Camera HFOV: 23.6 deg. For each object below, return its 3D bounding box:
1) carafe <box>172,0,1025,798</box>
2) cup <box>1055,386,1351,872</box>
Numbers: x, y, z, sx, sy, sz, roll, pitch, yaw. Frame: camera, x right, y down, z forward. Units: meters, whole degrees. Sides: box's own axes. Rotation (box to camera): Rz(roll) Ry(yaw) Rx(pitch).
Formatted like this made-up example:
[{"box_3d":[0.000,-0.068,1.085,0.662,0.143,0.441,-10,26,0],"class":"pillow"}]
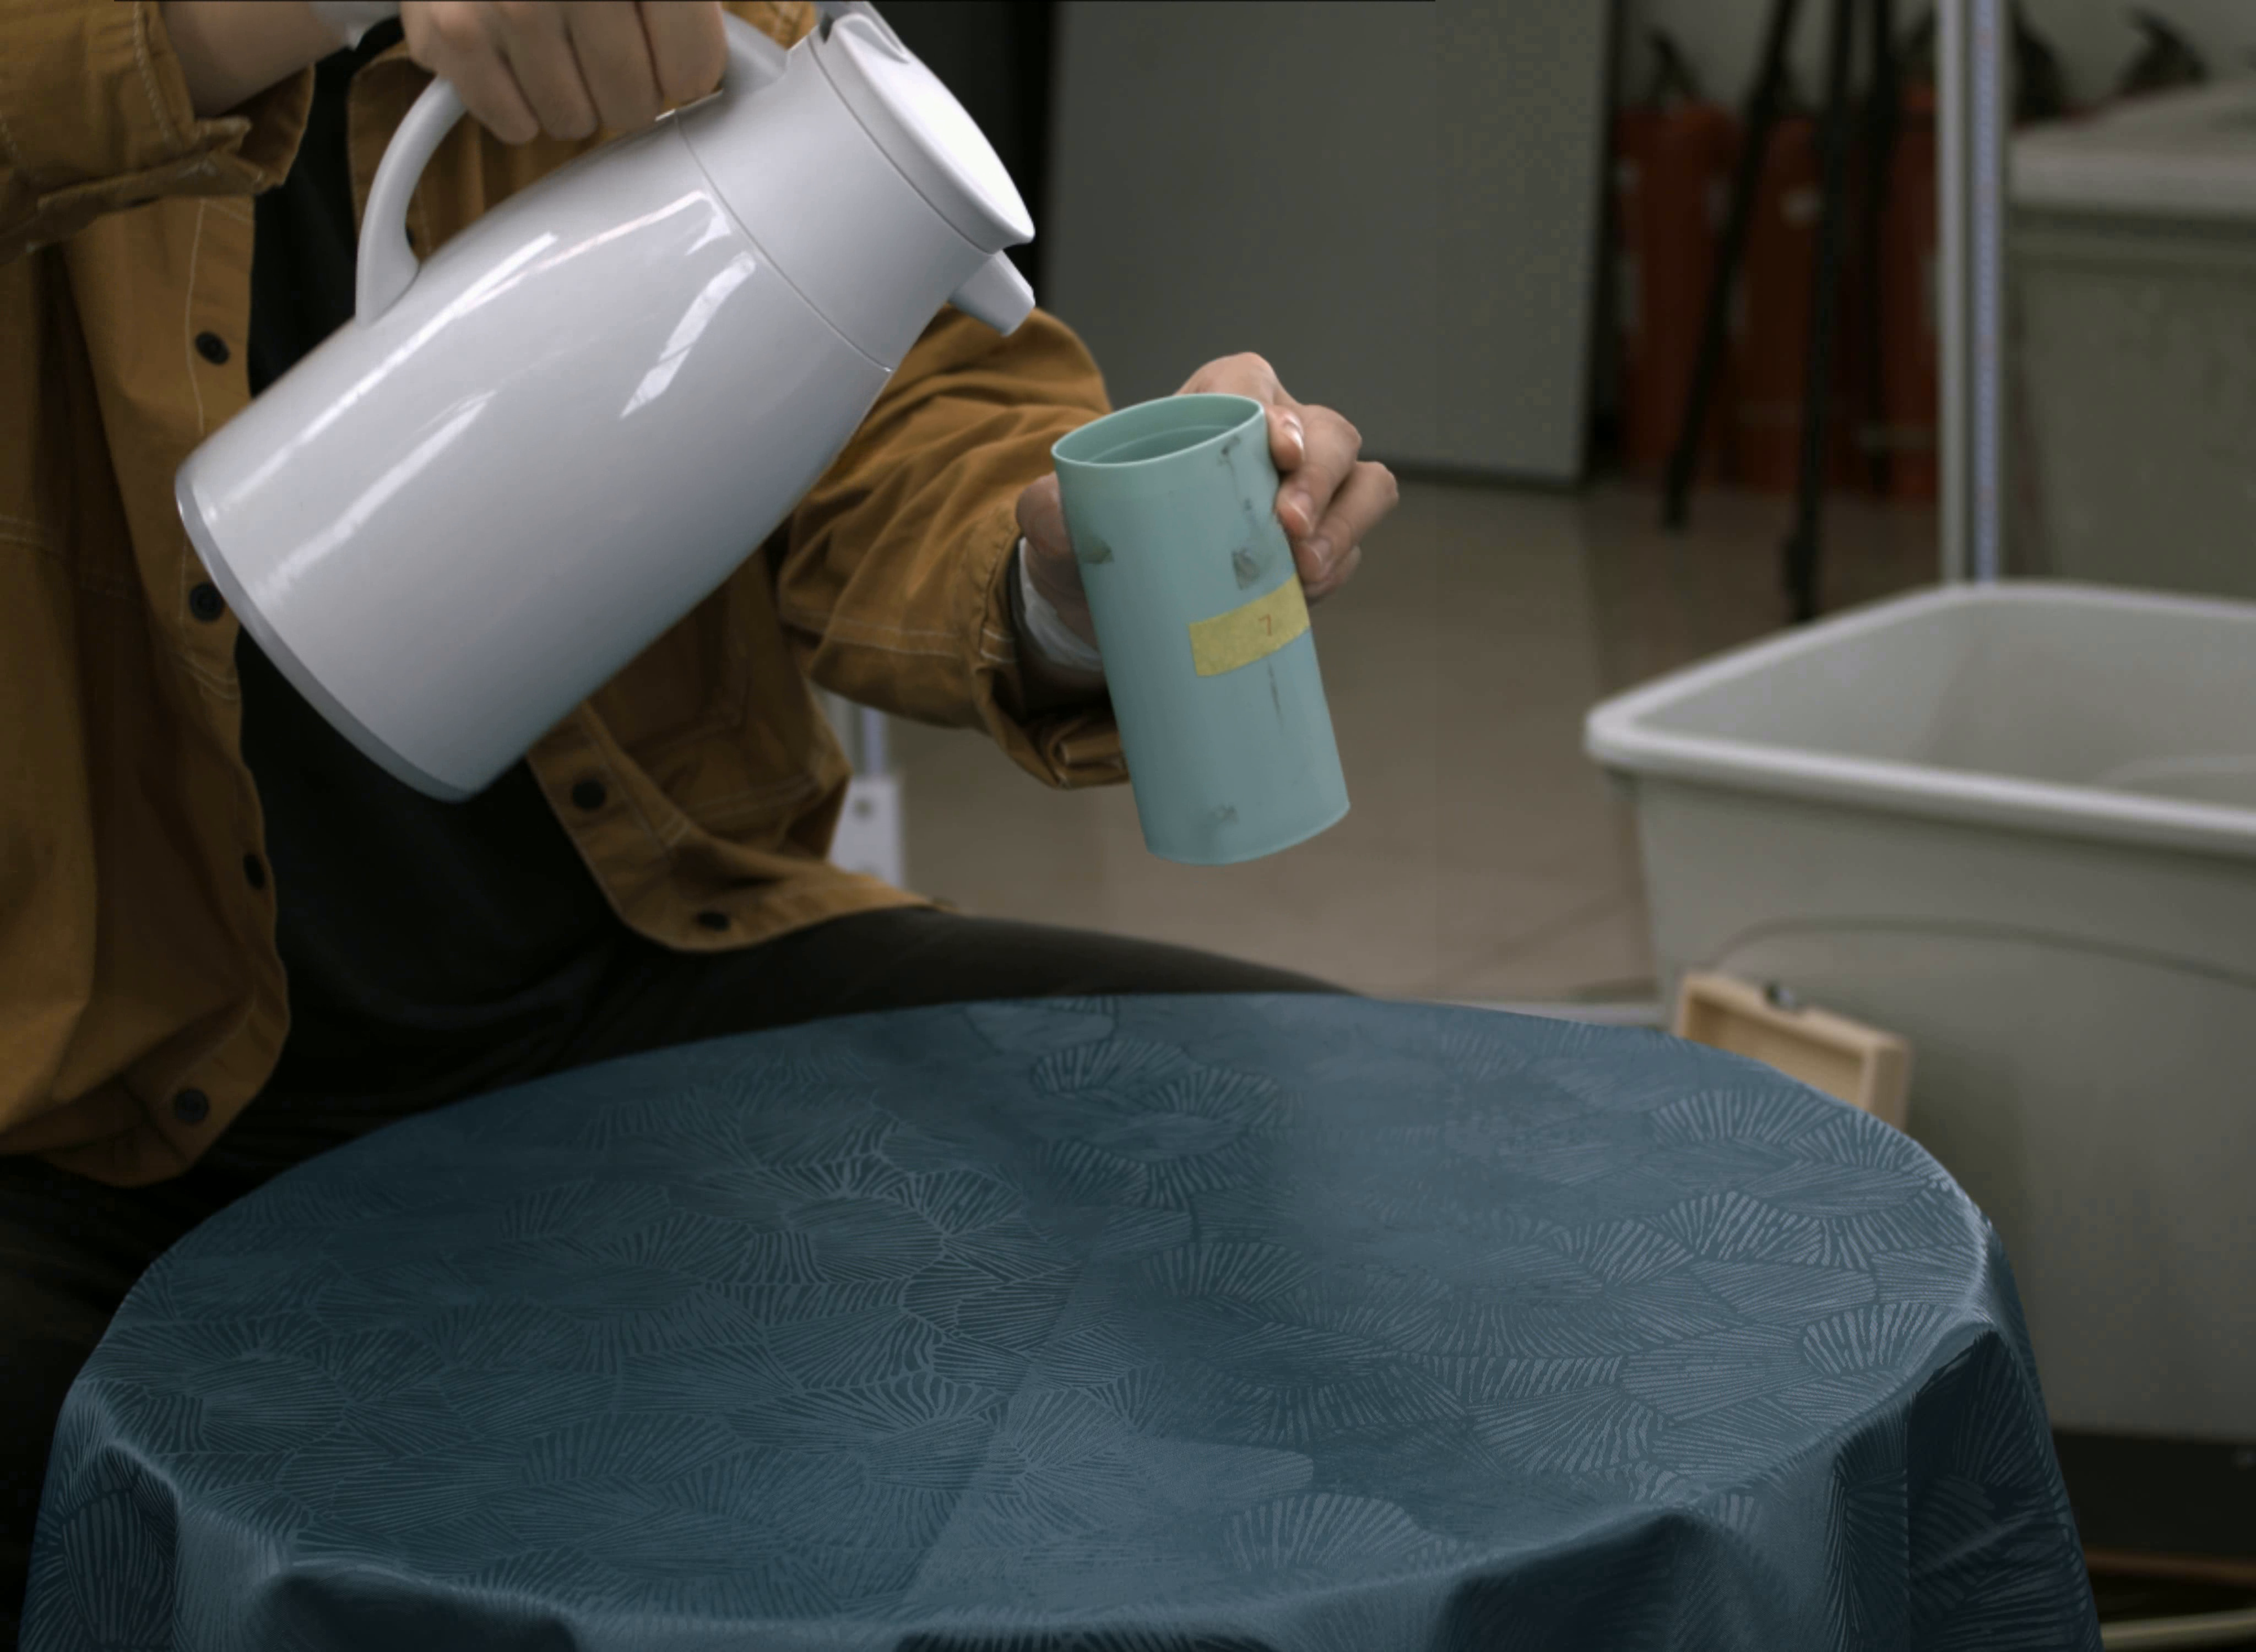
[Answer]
[{"box_3d":[-0.158,-0.150,1.578,0.249,0.166,0.133,-41,19,12],"class":"carafe"},{"box_3d":[0.023,-0.060,1.630,0.066,0.133,0.067,-12,18,3],"class":"cup"}]
